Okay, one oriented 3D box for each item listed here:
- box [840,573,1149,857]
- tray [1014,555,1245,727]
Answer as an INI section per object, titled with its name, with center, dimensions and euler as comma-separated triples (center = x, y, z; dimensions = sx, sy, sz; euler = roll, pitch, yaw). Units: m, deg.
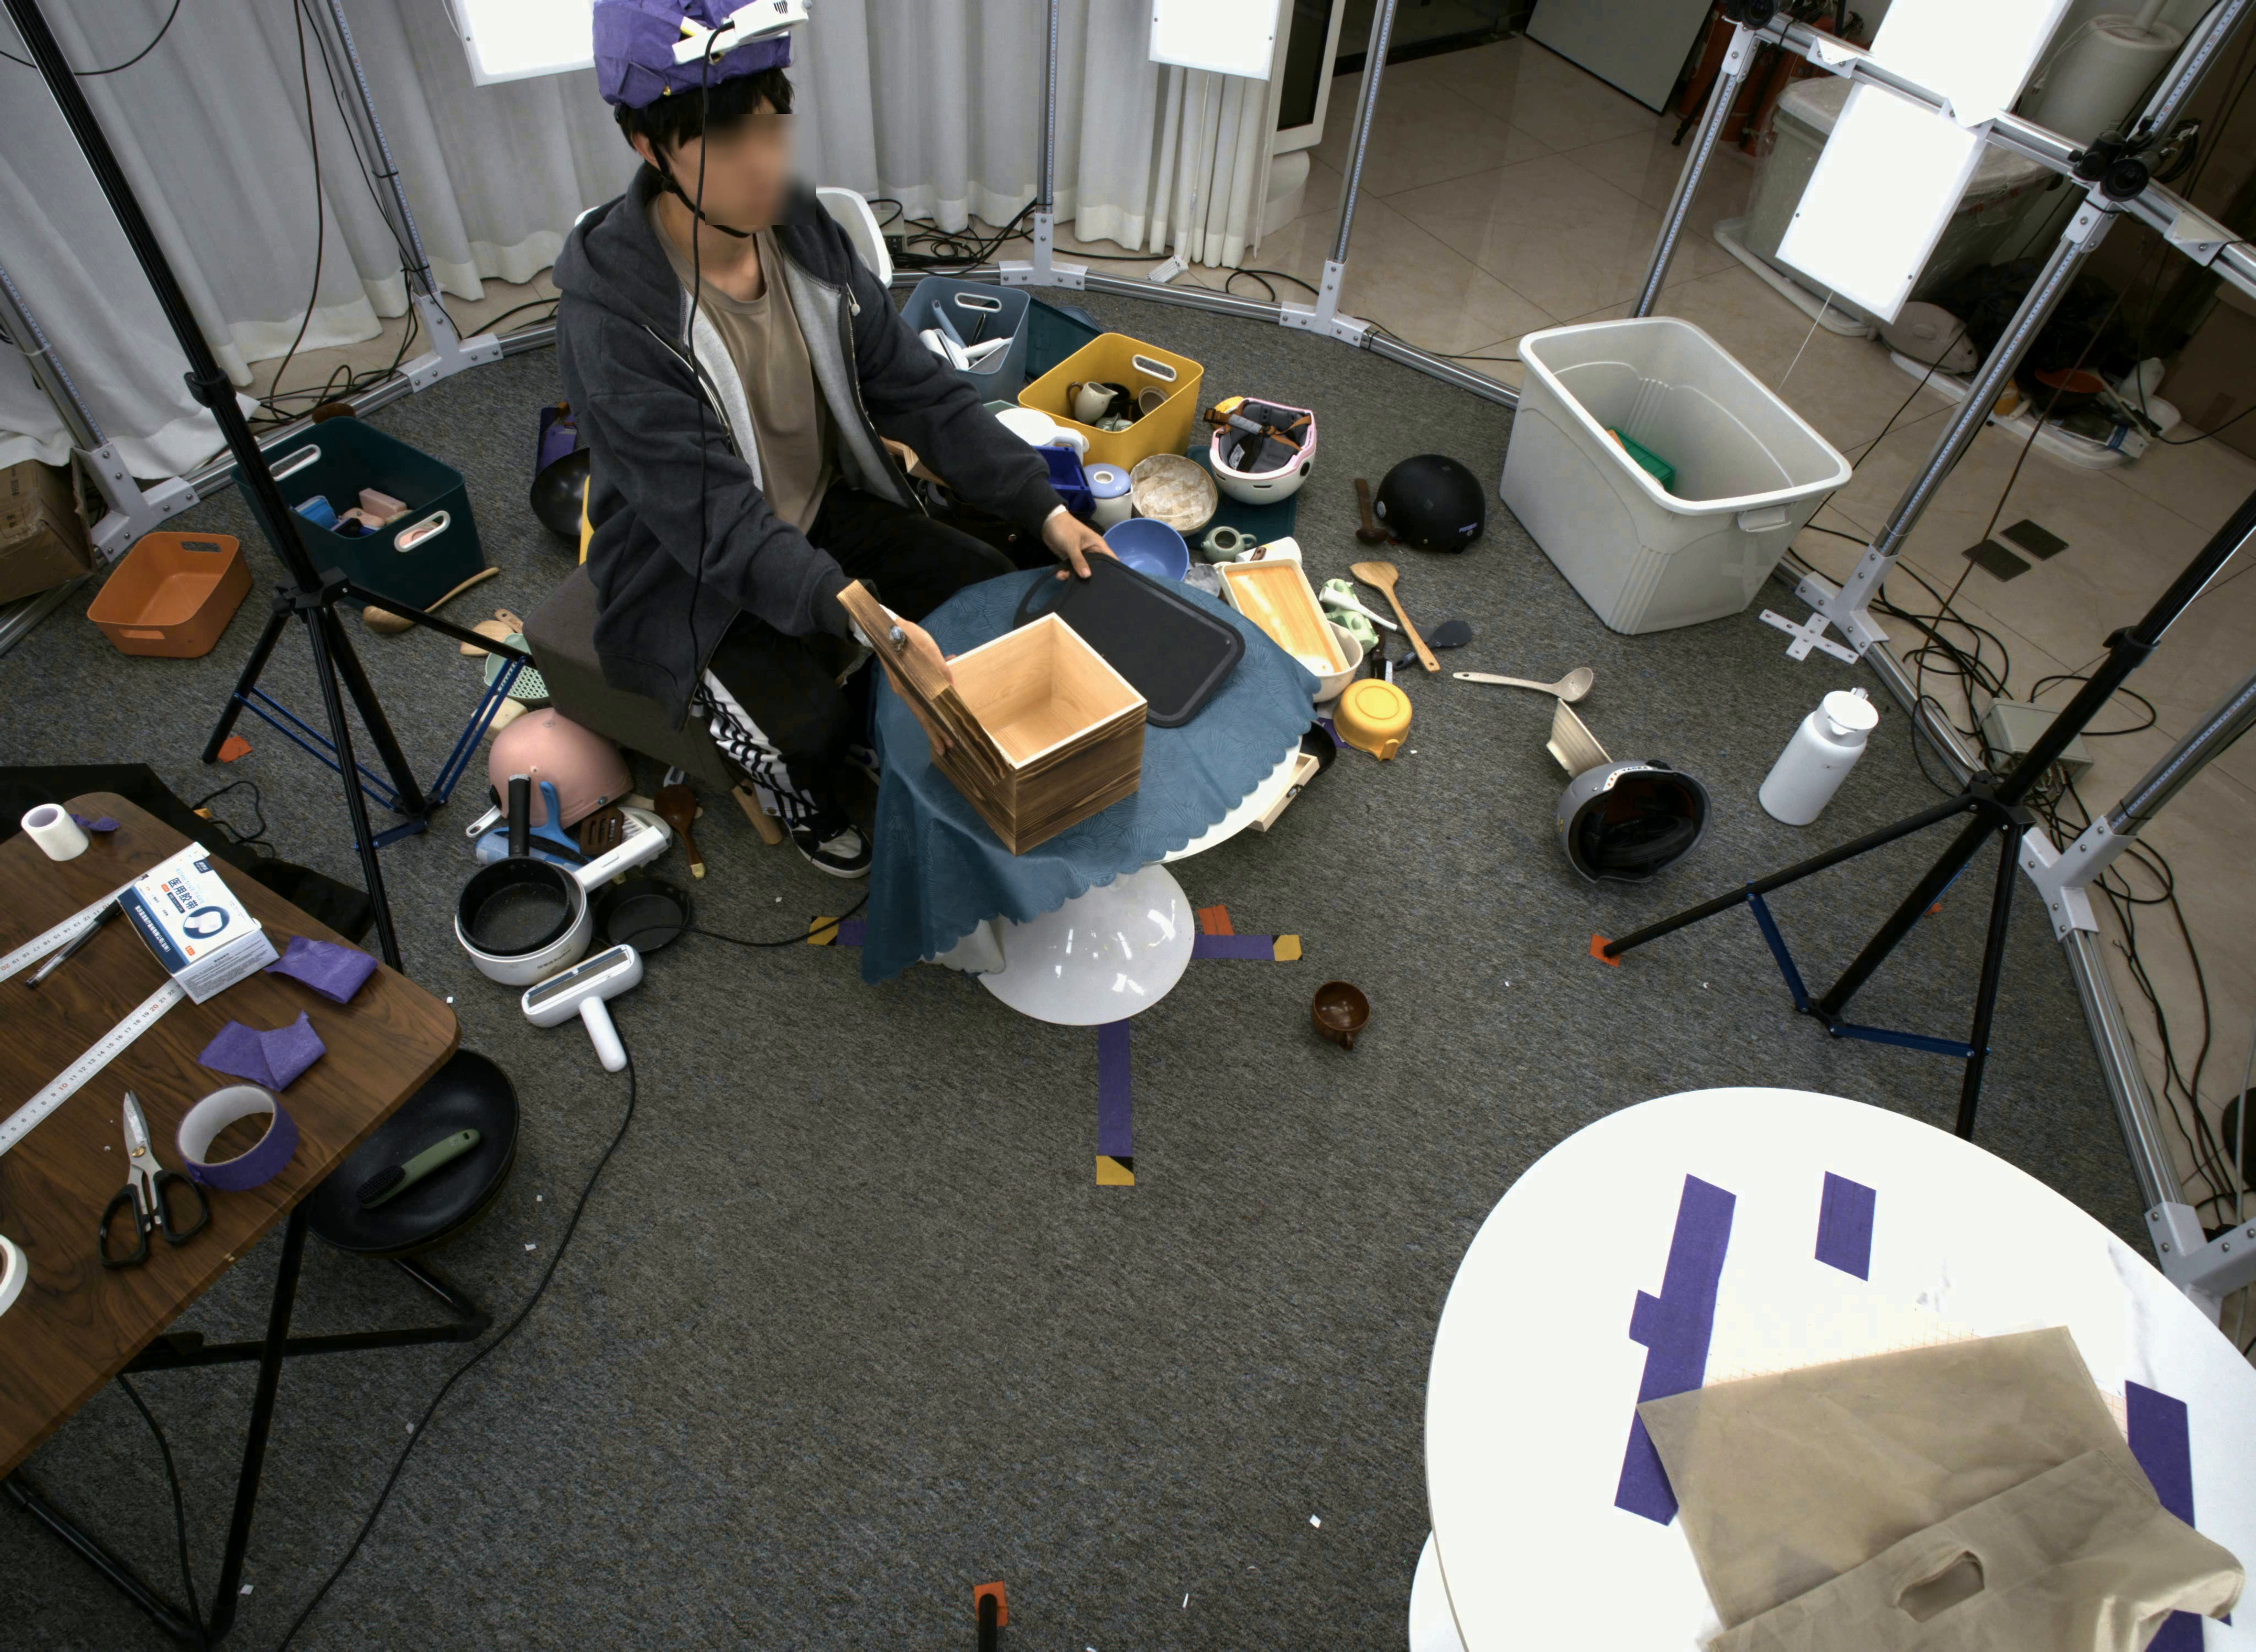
[box]
center = -0.154, -0.156, 1.559
dimensions = 0.324, 0.366, 0.212
euler = -29, 58, -26
[tray]
center = -0.005, -0.278, 1.870
dimensions = 0.328, 0.009, 0.214
euler = 32, 64, 17
